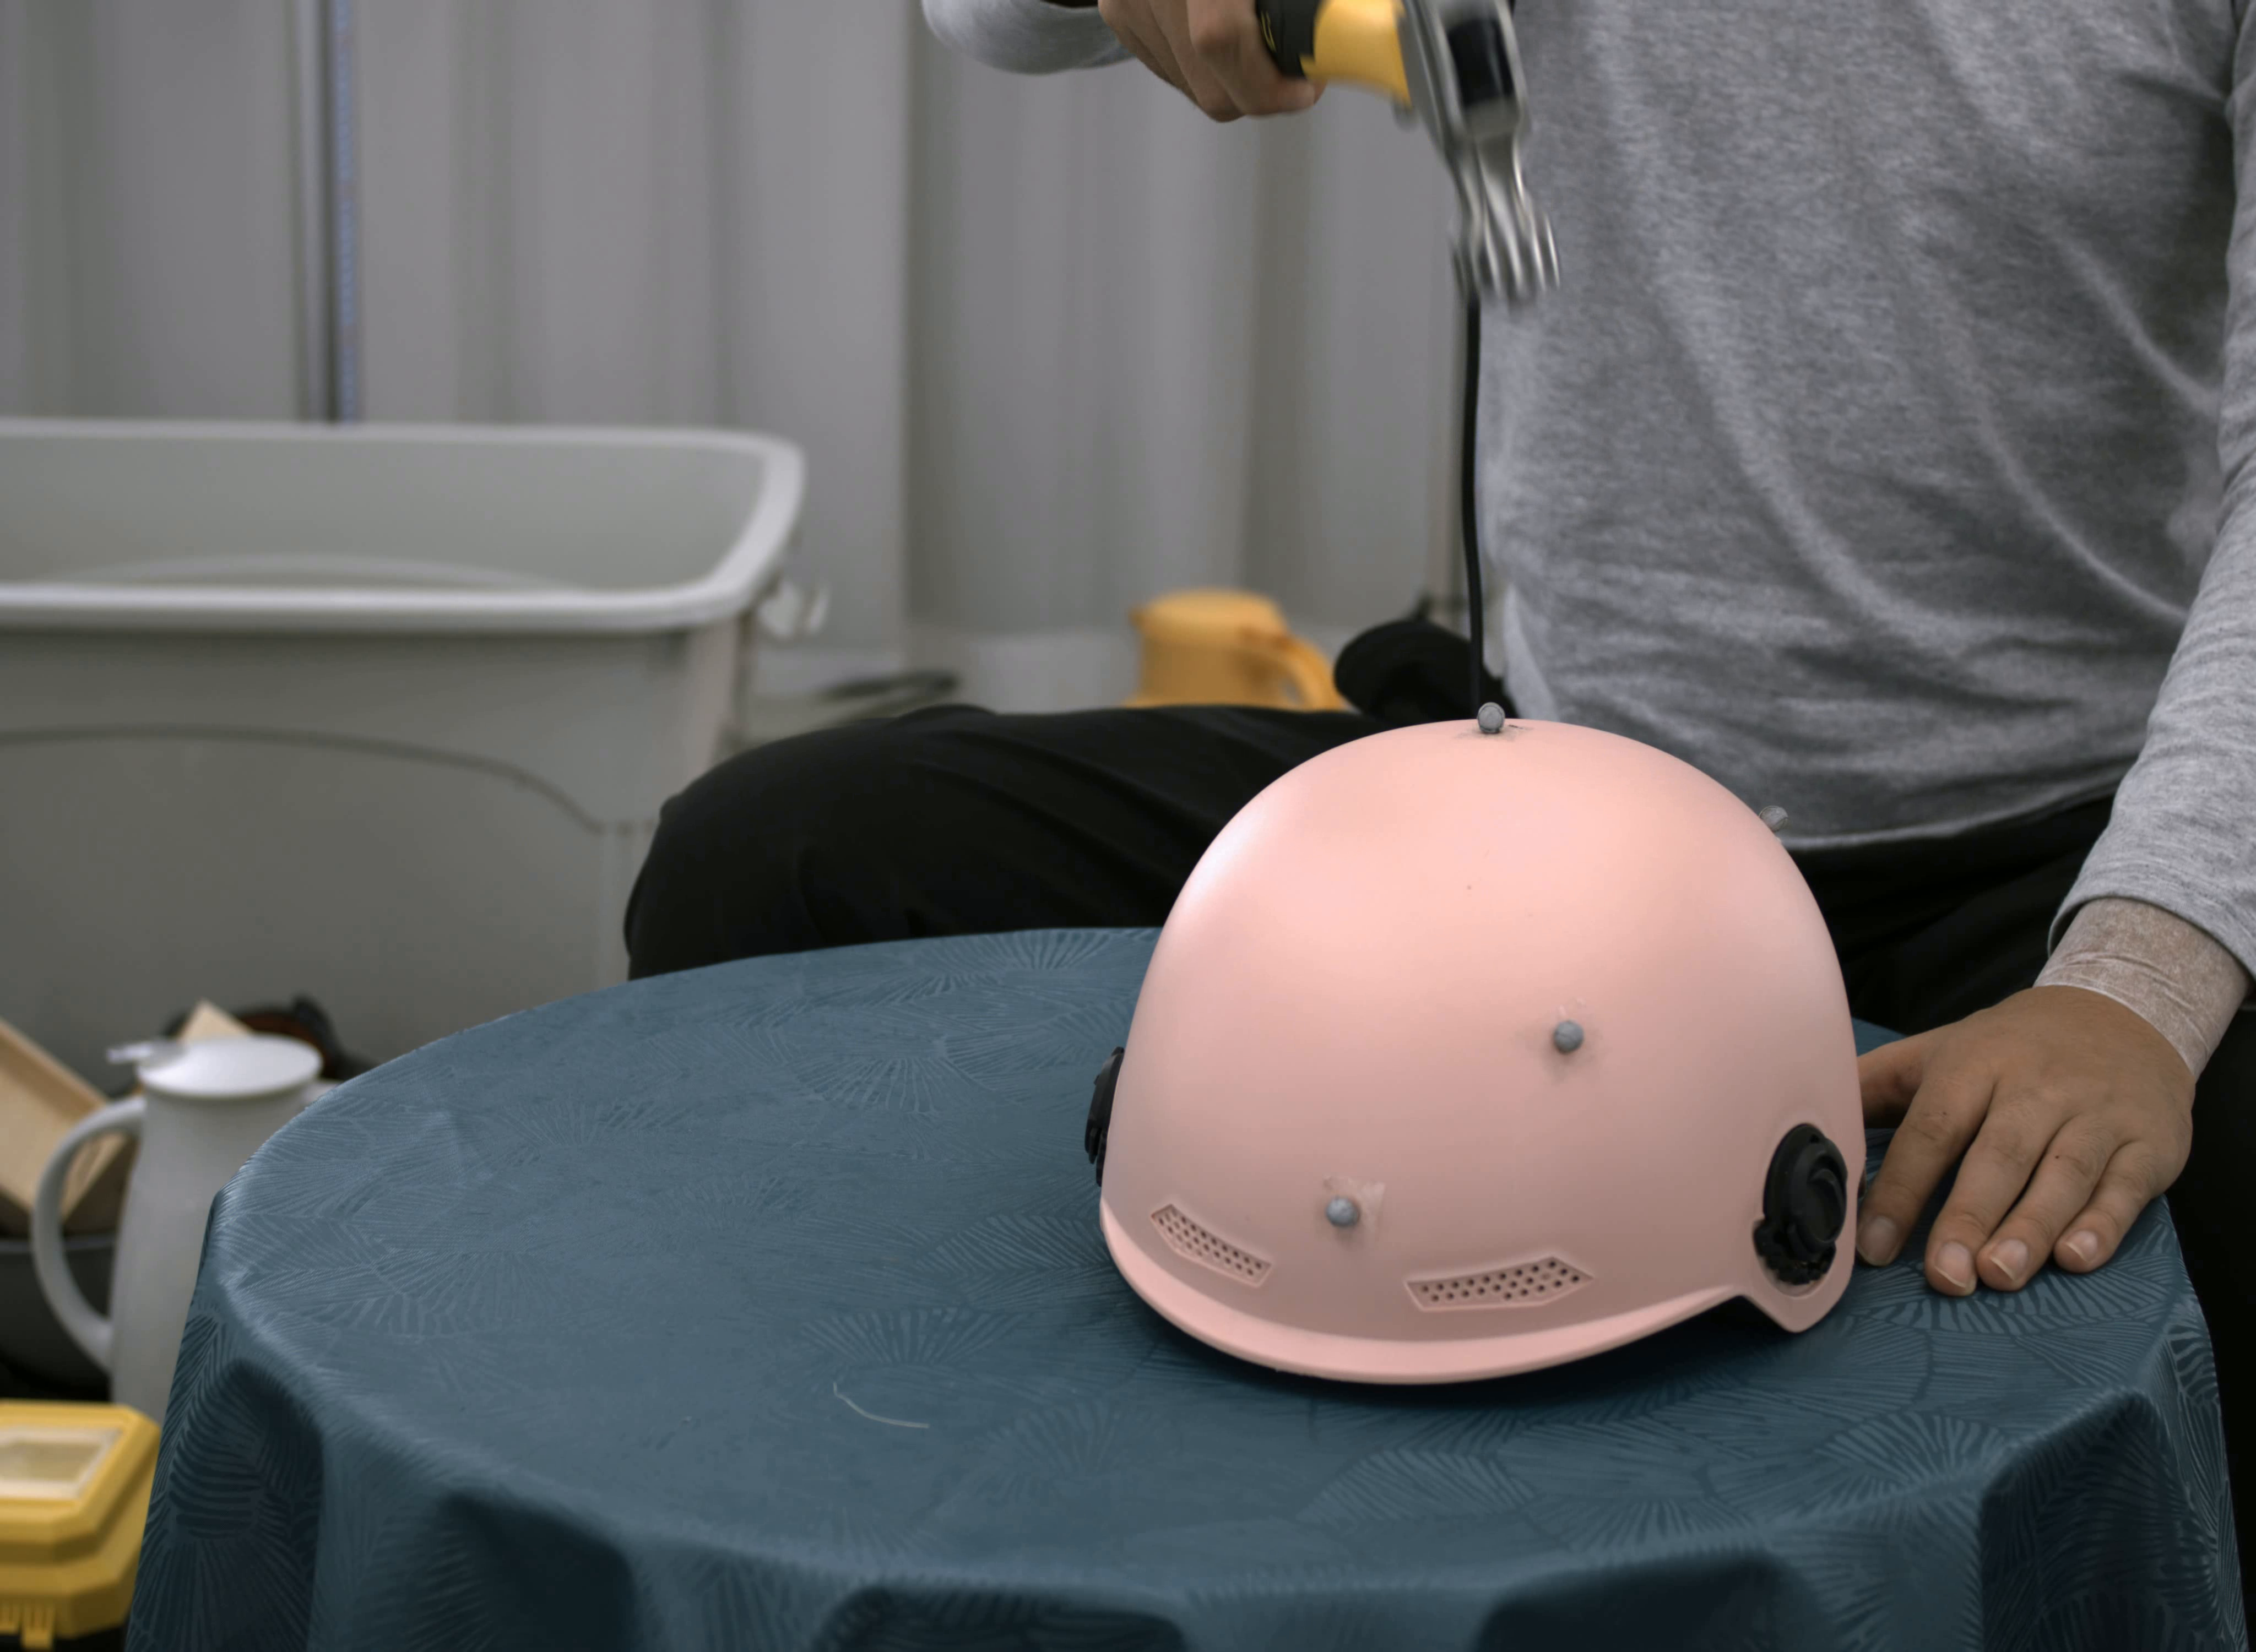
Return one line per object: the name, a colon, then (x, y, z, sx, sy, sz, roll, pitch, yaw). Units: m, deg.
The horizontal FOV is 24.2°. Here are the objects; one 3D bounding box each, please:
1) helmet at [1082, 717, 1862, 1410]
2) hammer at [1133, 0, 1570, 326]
helmet: (0.103, 0.055, 1.553, 0.232, 0.160, 0.266, 7, 21, 20)
hammer: (0.057, -0.236, 1.584, 0.032, 0.132, 0.335, -16, 16, -11)
